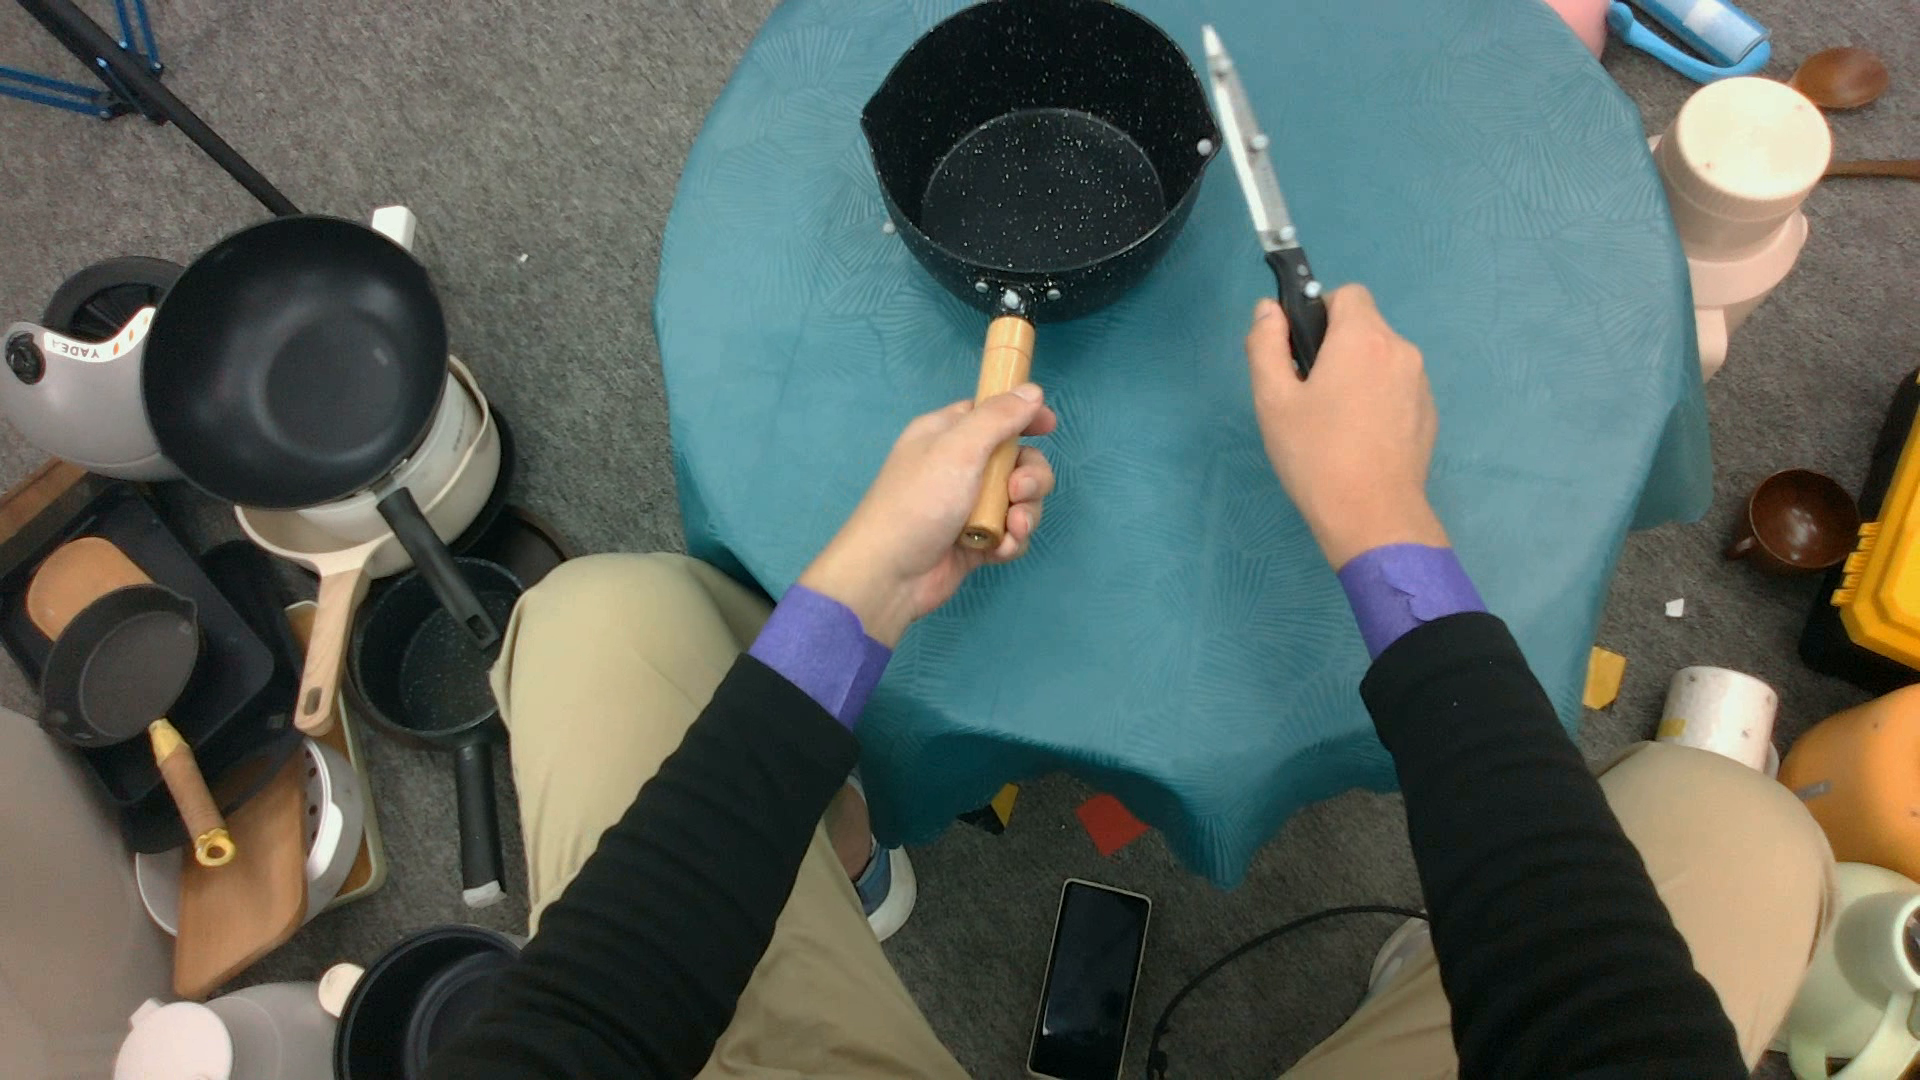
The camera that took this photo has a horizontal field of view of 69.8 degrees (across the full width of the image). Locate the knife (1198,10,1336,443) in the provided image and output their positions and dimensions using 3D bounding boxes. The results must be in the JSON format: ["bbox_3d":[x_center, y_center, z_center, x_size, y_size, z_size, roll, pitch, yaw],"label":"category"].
[{"bbox_3d":[0.157,-0.166,0.714,0.024,0.016,0.238,-10,82,-26],"label":"knife"}]

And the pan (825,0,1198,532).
[{"bbox_3d":[0.021,-0.150,0.756,0.207,0.108,0.344,5,69,5],"label":"pan"}]
